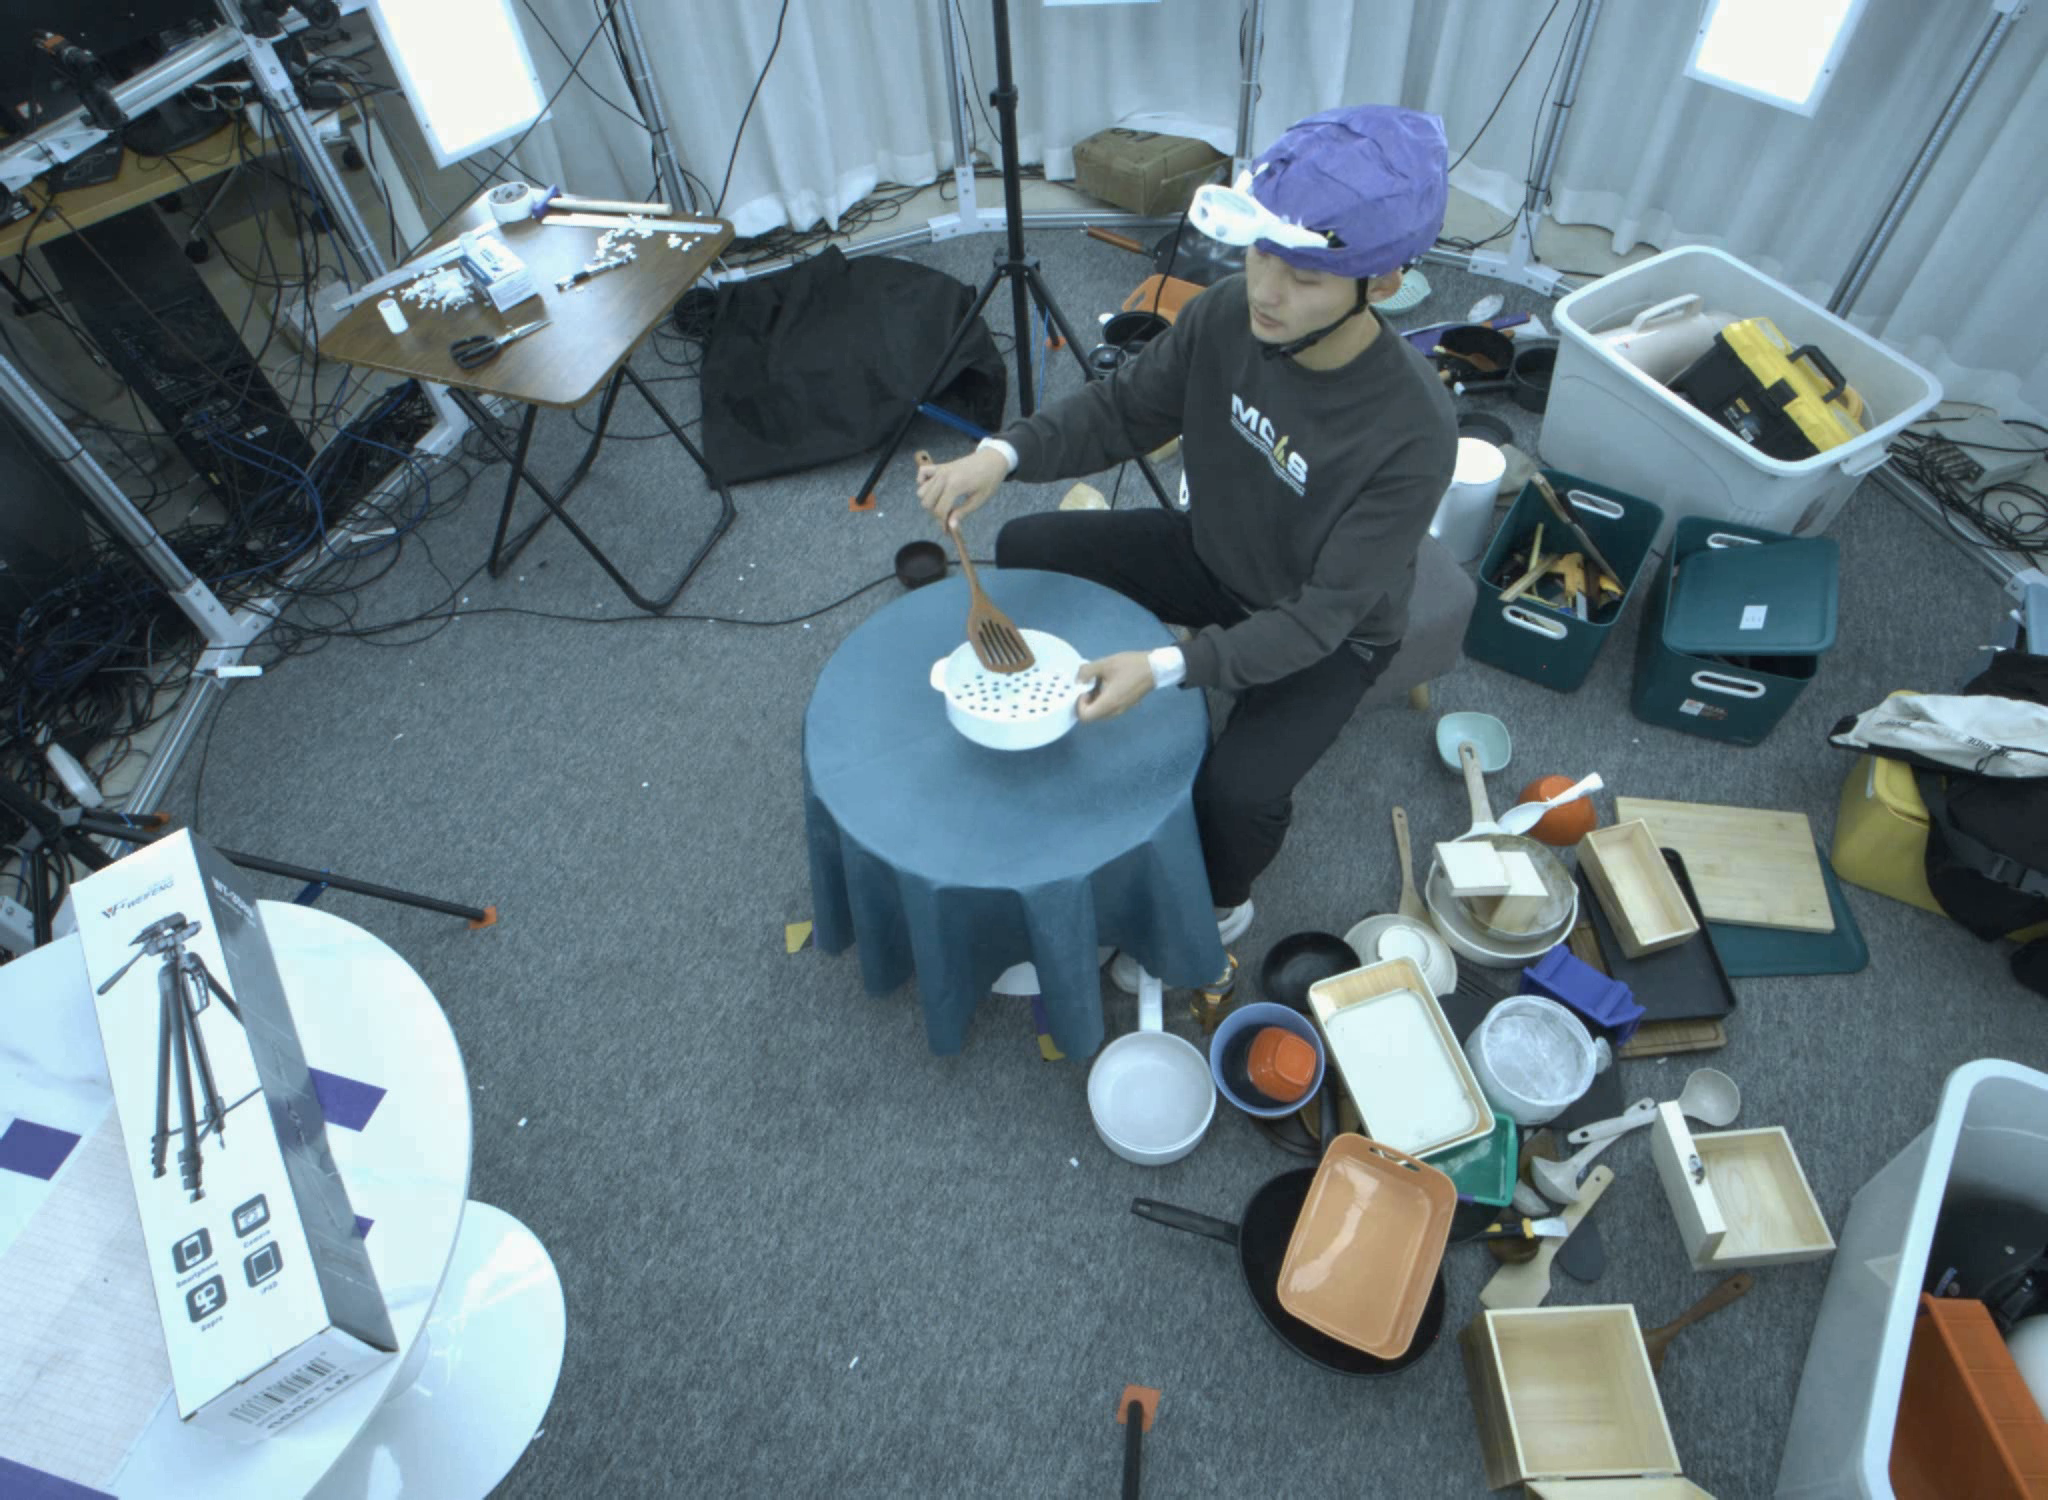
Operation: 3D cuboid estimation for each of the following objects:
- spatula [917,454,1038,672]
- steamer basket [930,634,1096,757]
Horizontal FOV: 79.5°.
[{"bbox_3d":[-0.086,-0.273,1.747,0.087,0.023,0.381,-13,70,-31],"label":"spatula"},{"bbox_3d":[-0.016,-0.076,1.729,0.231,0.070,0.200,3,45,-1],"label":"steamer basket"}]
